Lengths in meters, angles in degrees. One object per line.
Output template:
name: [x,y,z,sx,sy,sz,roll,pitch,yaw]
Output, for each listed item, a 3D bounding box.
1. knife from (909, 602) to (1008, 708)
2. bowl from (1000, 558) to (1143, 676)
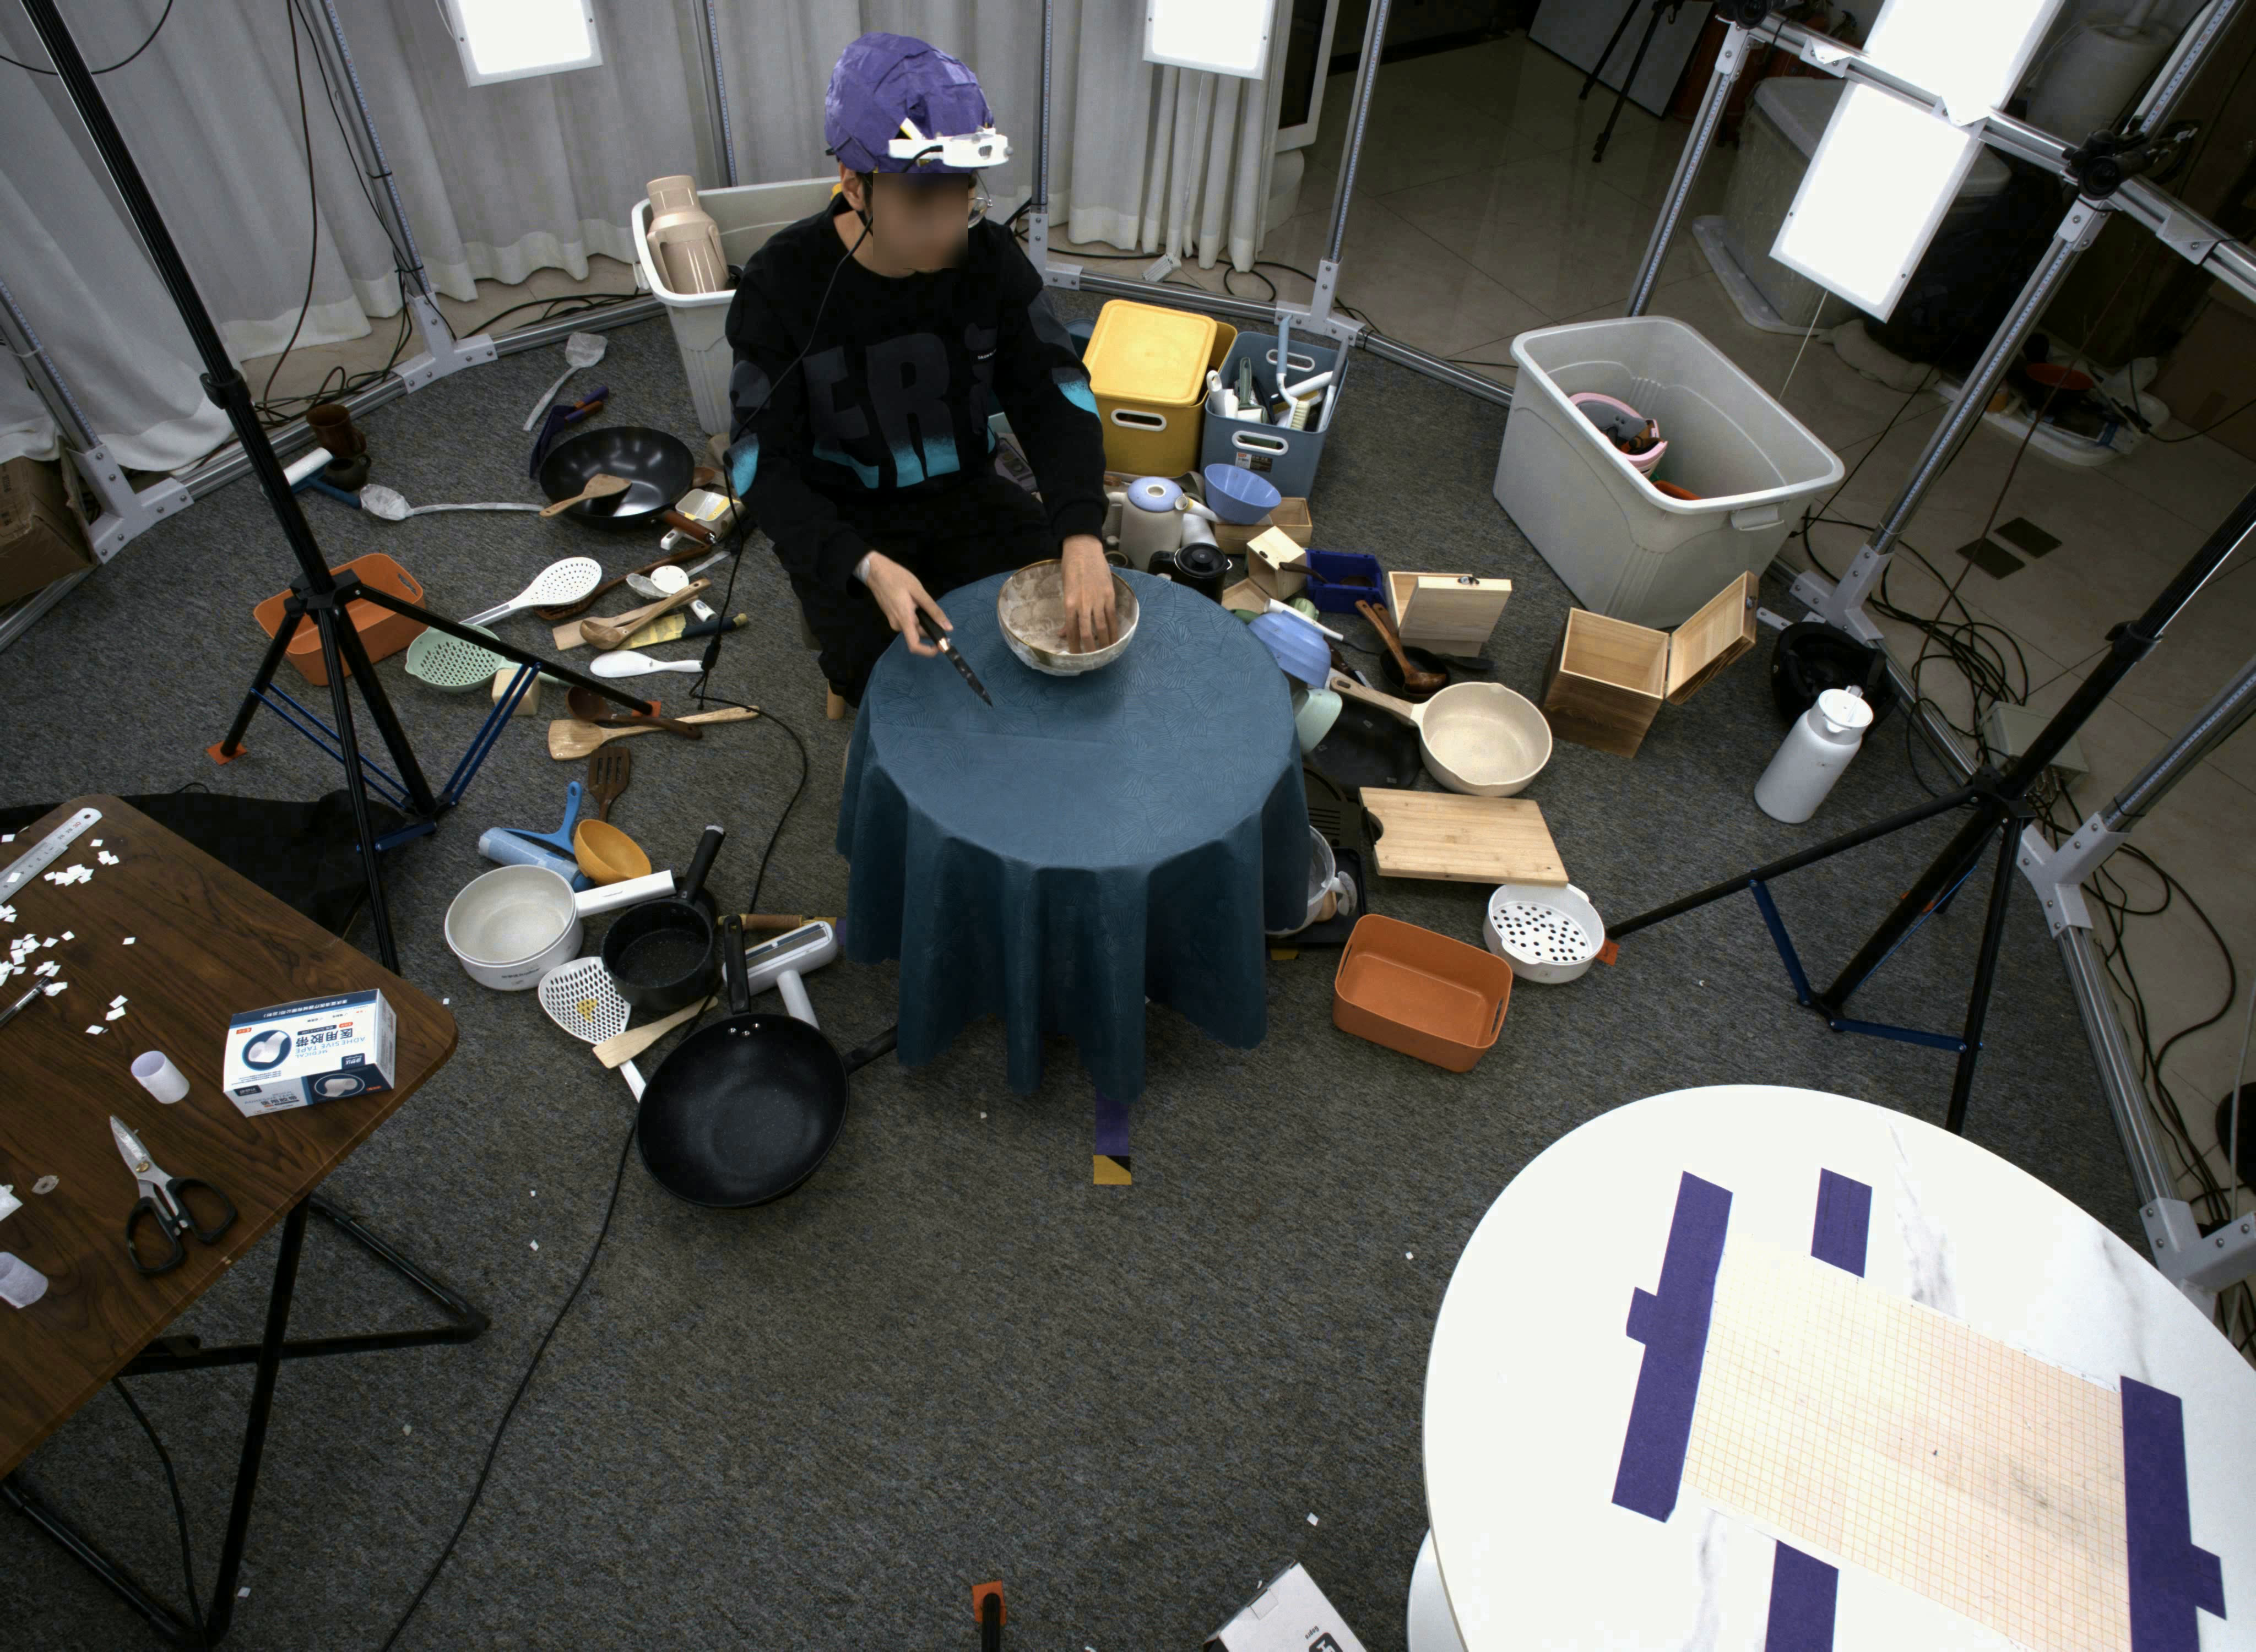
knife: [-0.231,-0.232,1.744,0.026,0.017,0.229,-15,53,-41]
bowl: [-0.083,-0.288,1.851,0.214,0.092,0.220,2,50,-2]
